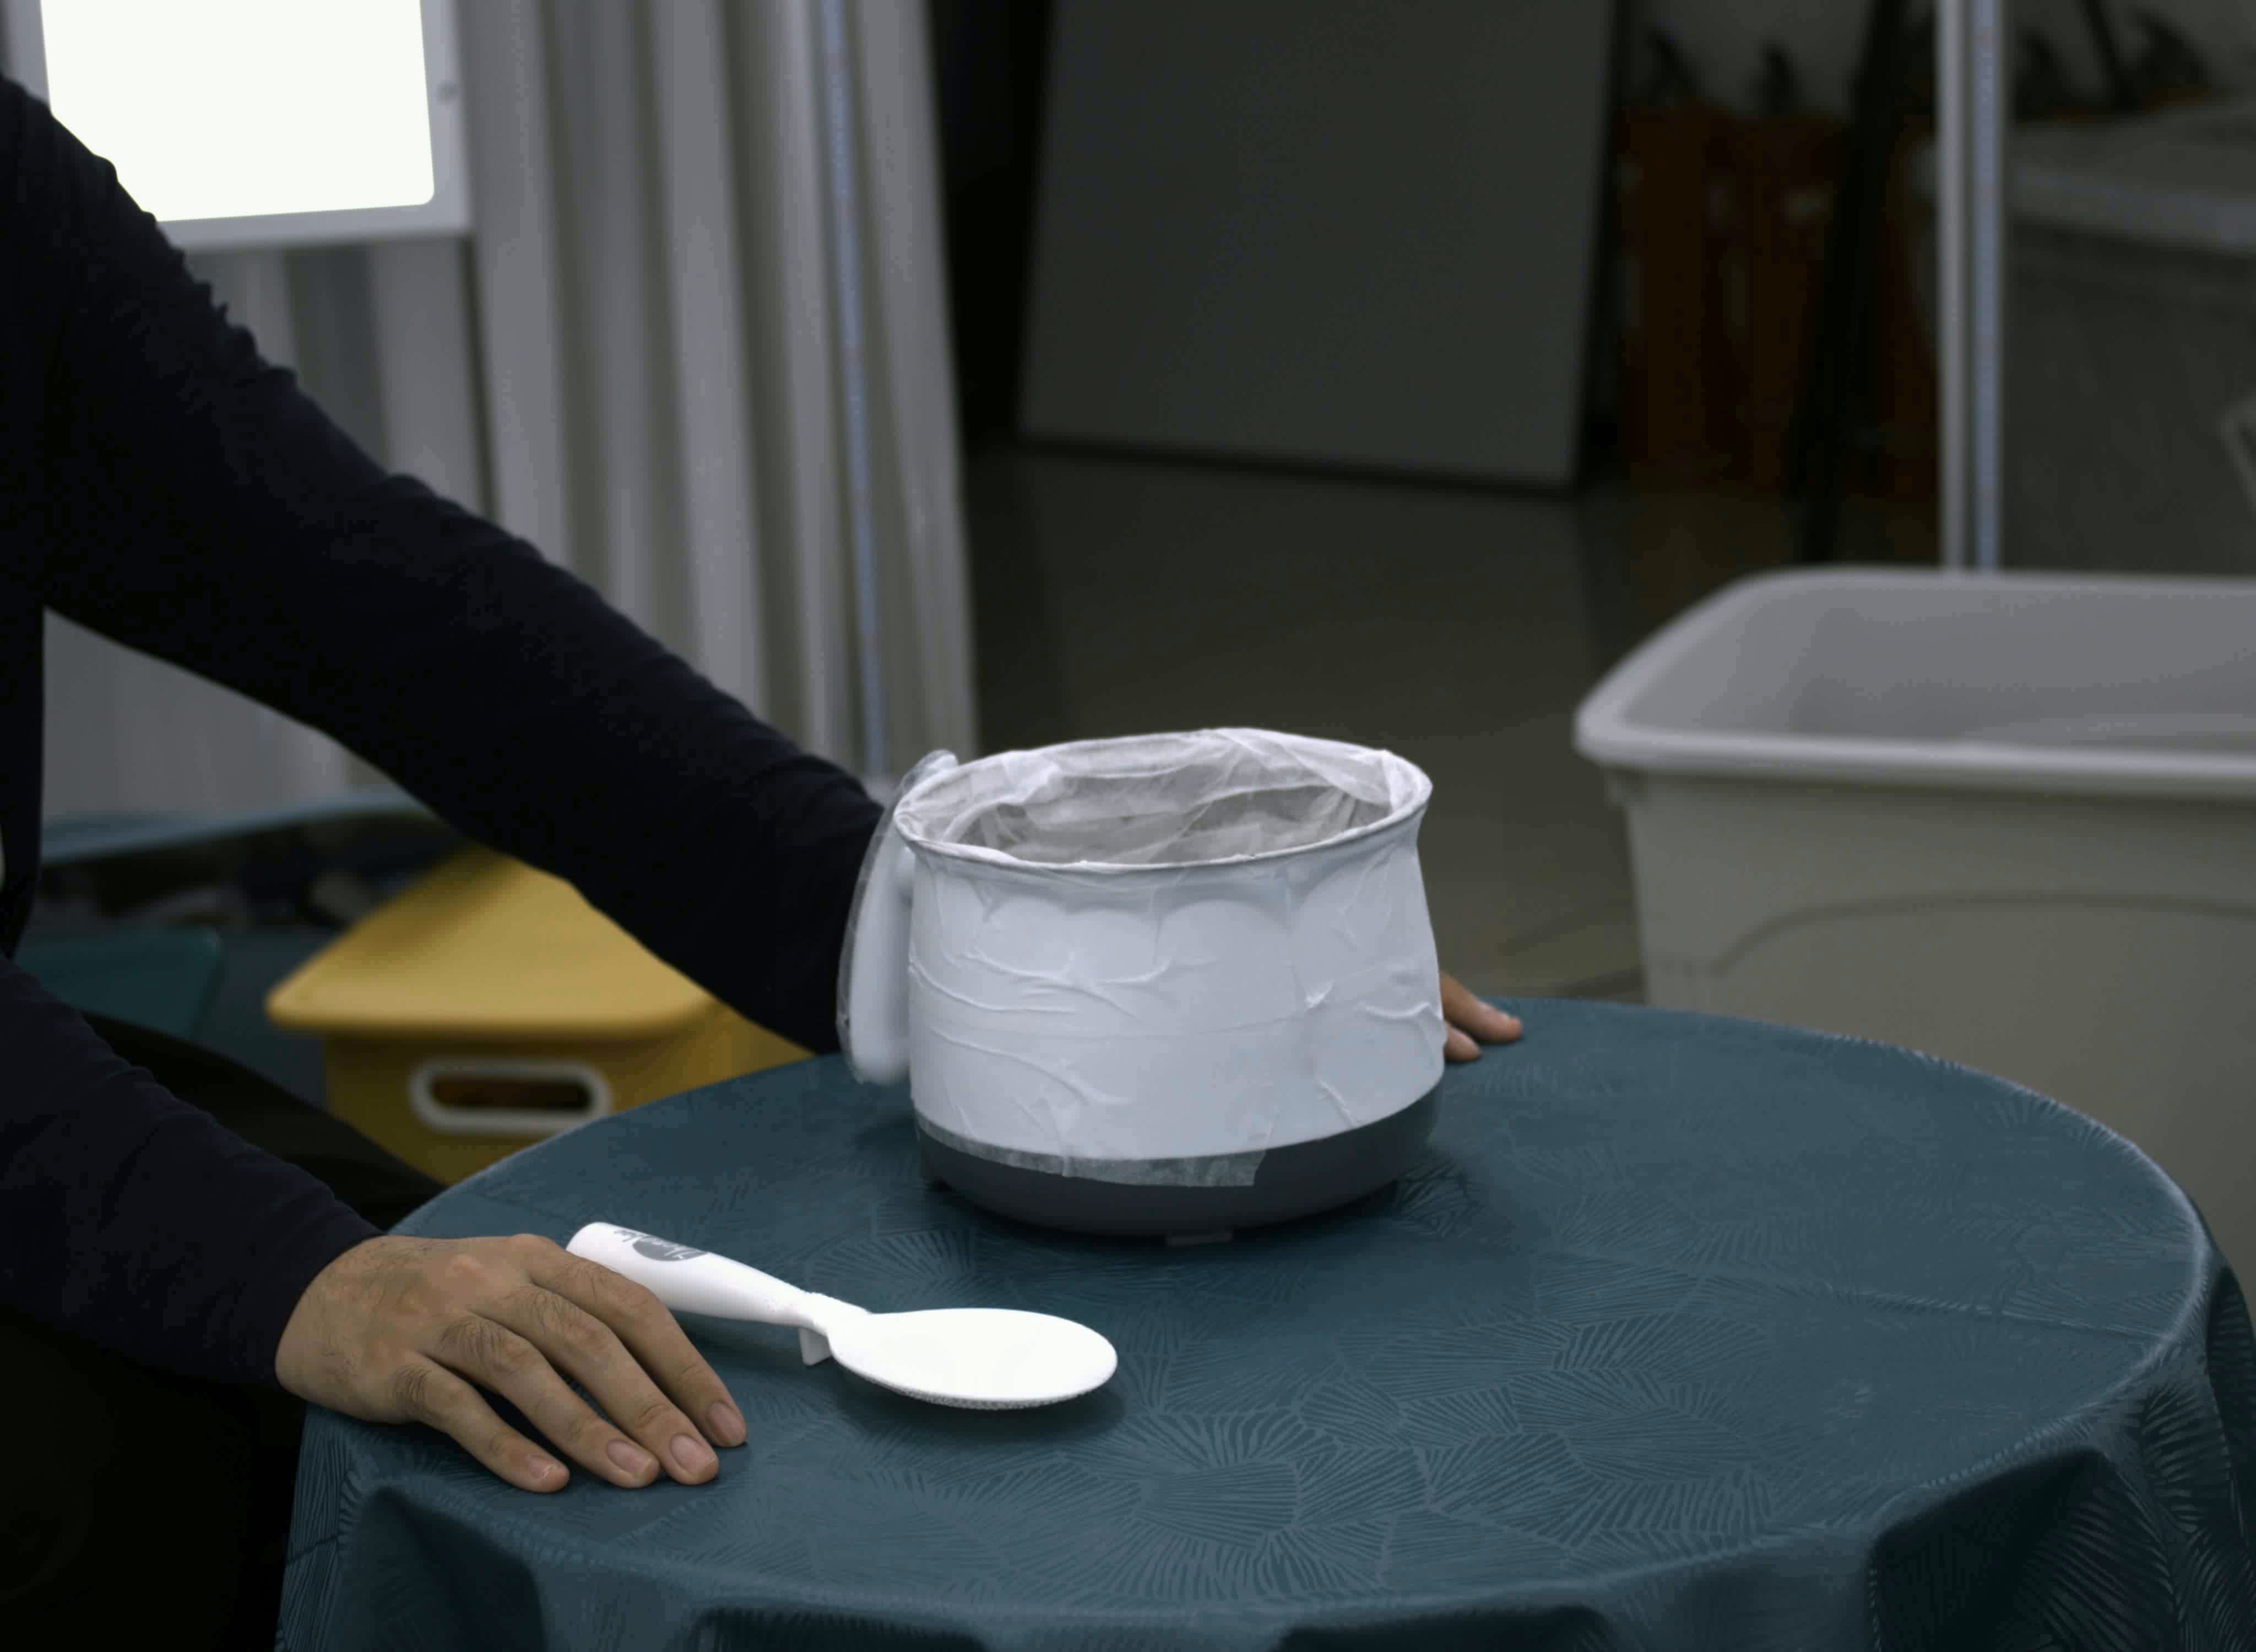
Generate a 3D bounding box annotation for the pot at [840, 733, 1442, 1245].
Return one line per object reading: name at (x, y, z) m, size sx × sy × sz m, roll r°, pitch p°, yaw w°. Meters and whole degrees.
pot at (-0.006, 0.048, 1.784) m, size 0.235 × 0.138 × 0.175 m, roll 9°, pitch 16°, yaw 40°

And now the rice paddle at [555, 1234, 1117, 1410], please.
rice paddle at (-0.088, 0.150, 1.624) m, size 0.207 × 0.030 × 0.067 m, roll 6°, pitch 19°, yaw 39°
